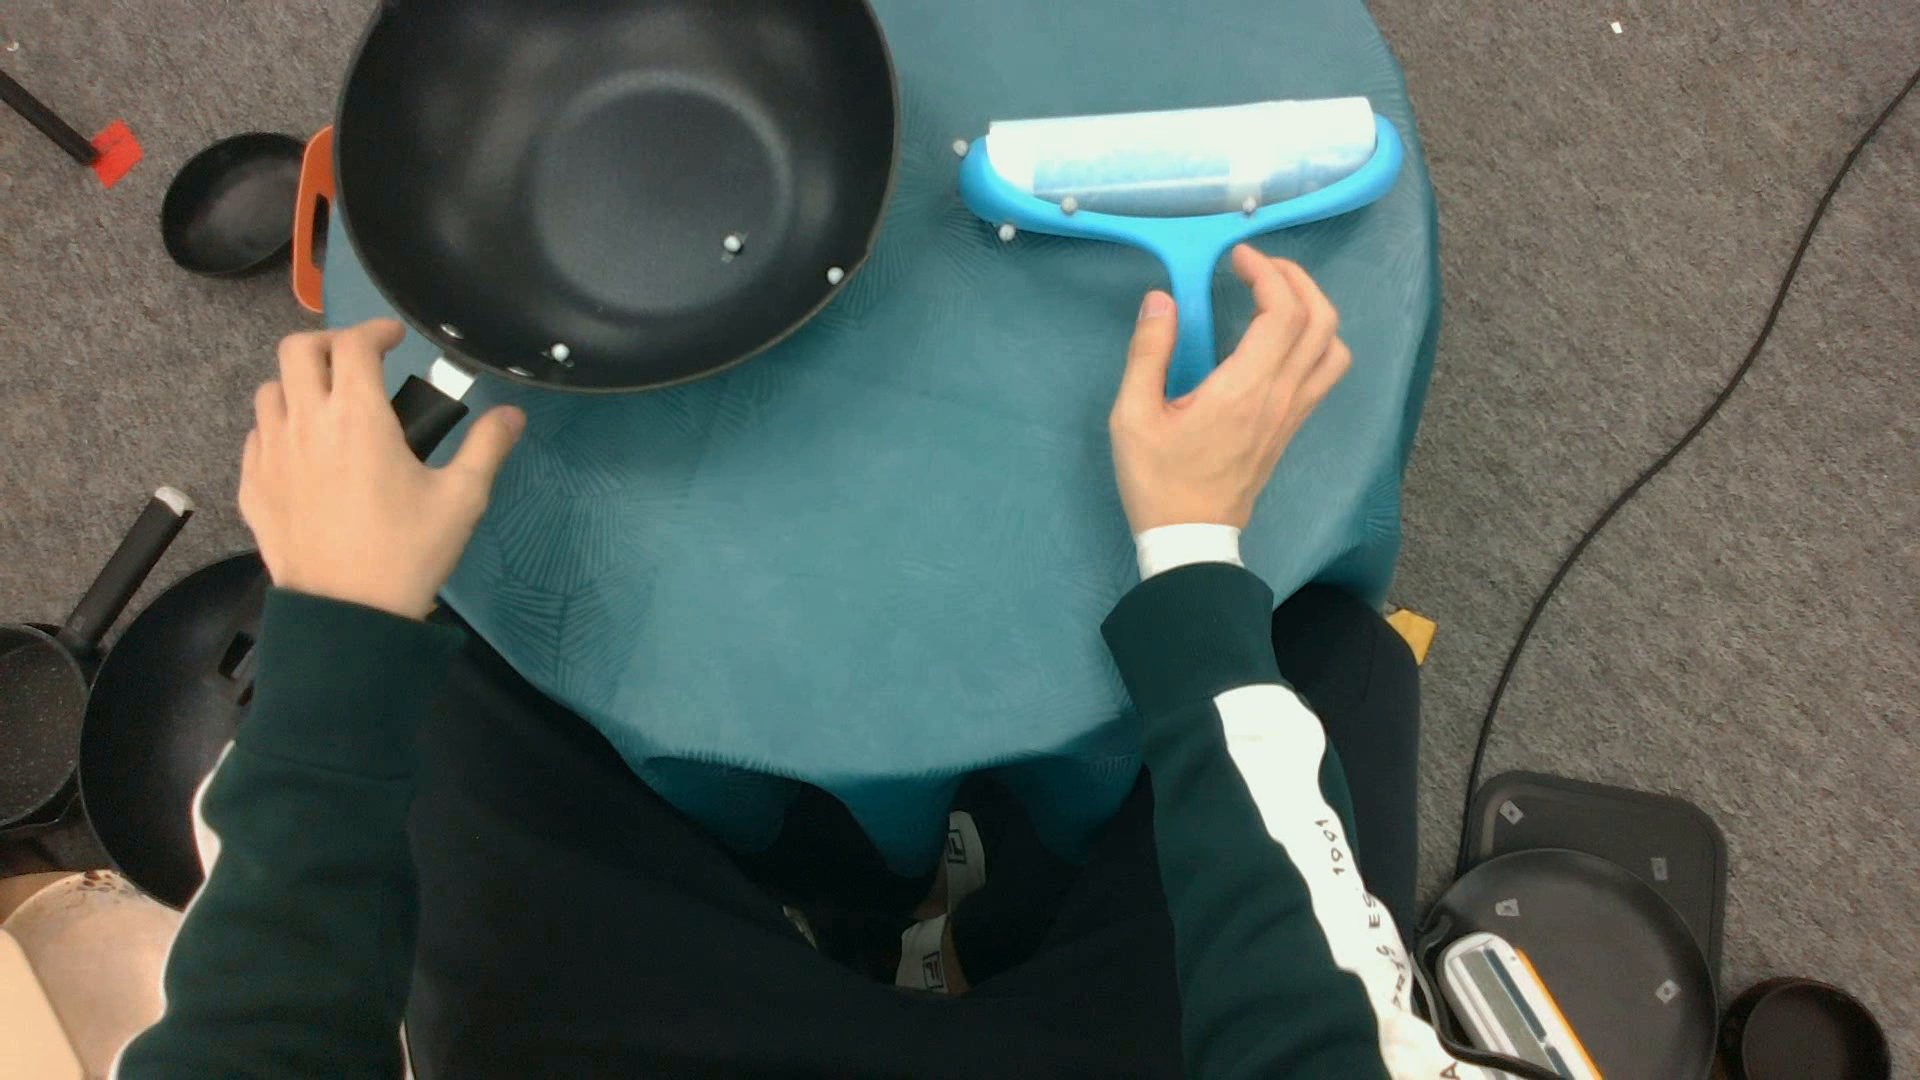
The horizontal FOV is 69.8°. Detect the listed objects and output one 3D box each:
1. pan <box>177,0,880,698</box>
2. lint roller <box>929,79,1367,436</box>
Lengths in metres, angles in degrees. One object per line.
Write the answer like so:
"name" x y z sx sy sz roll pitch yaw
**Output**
"pan" -0.223 -0.118 0.697 0.288 0.087 0.464 29 80 8
"lint roller" 0.105 -0.148 0.708 0.229 0.068 0.180 -7 76 -2
